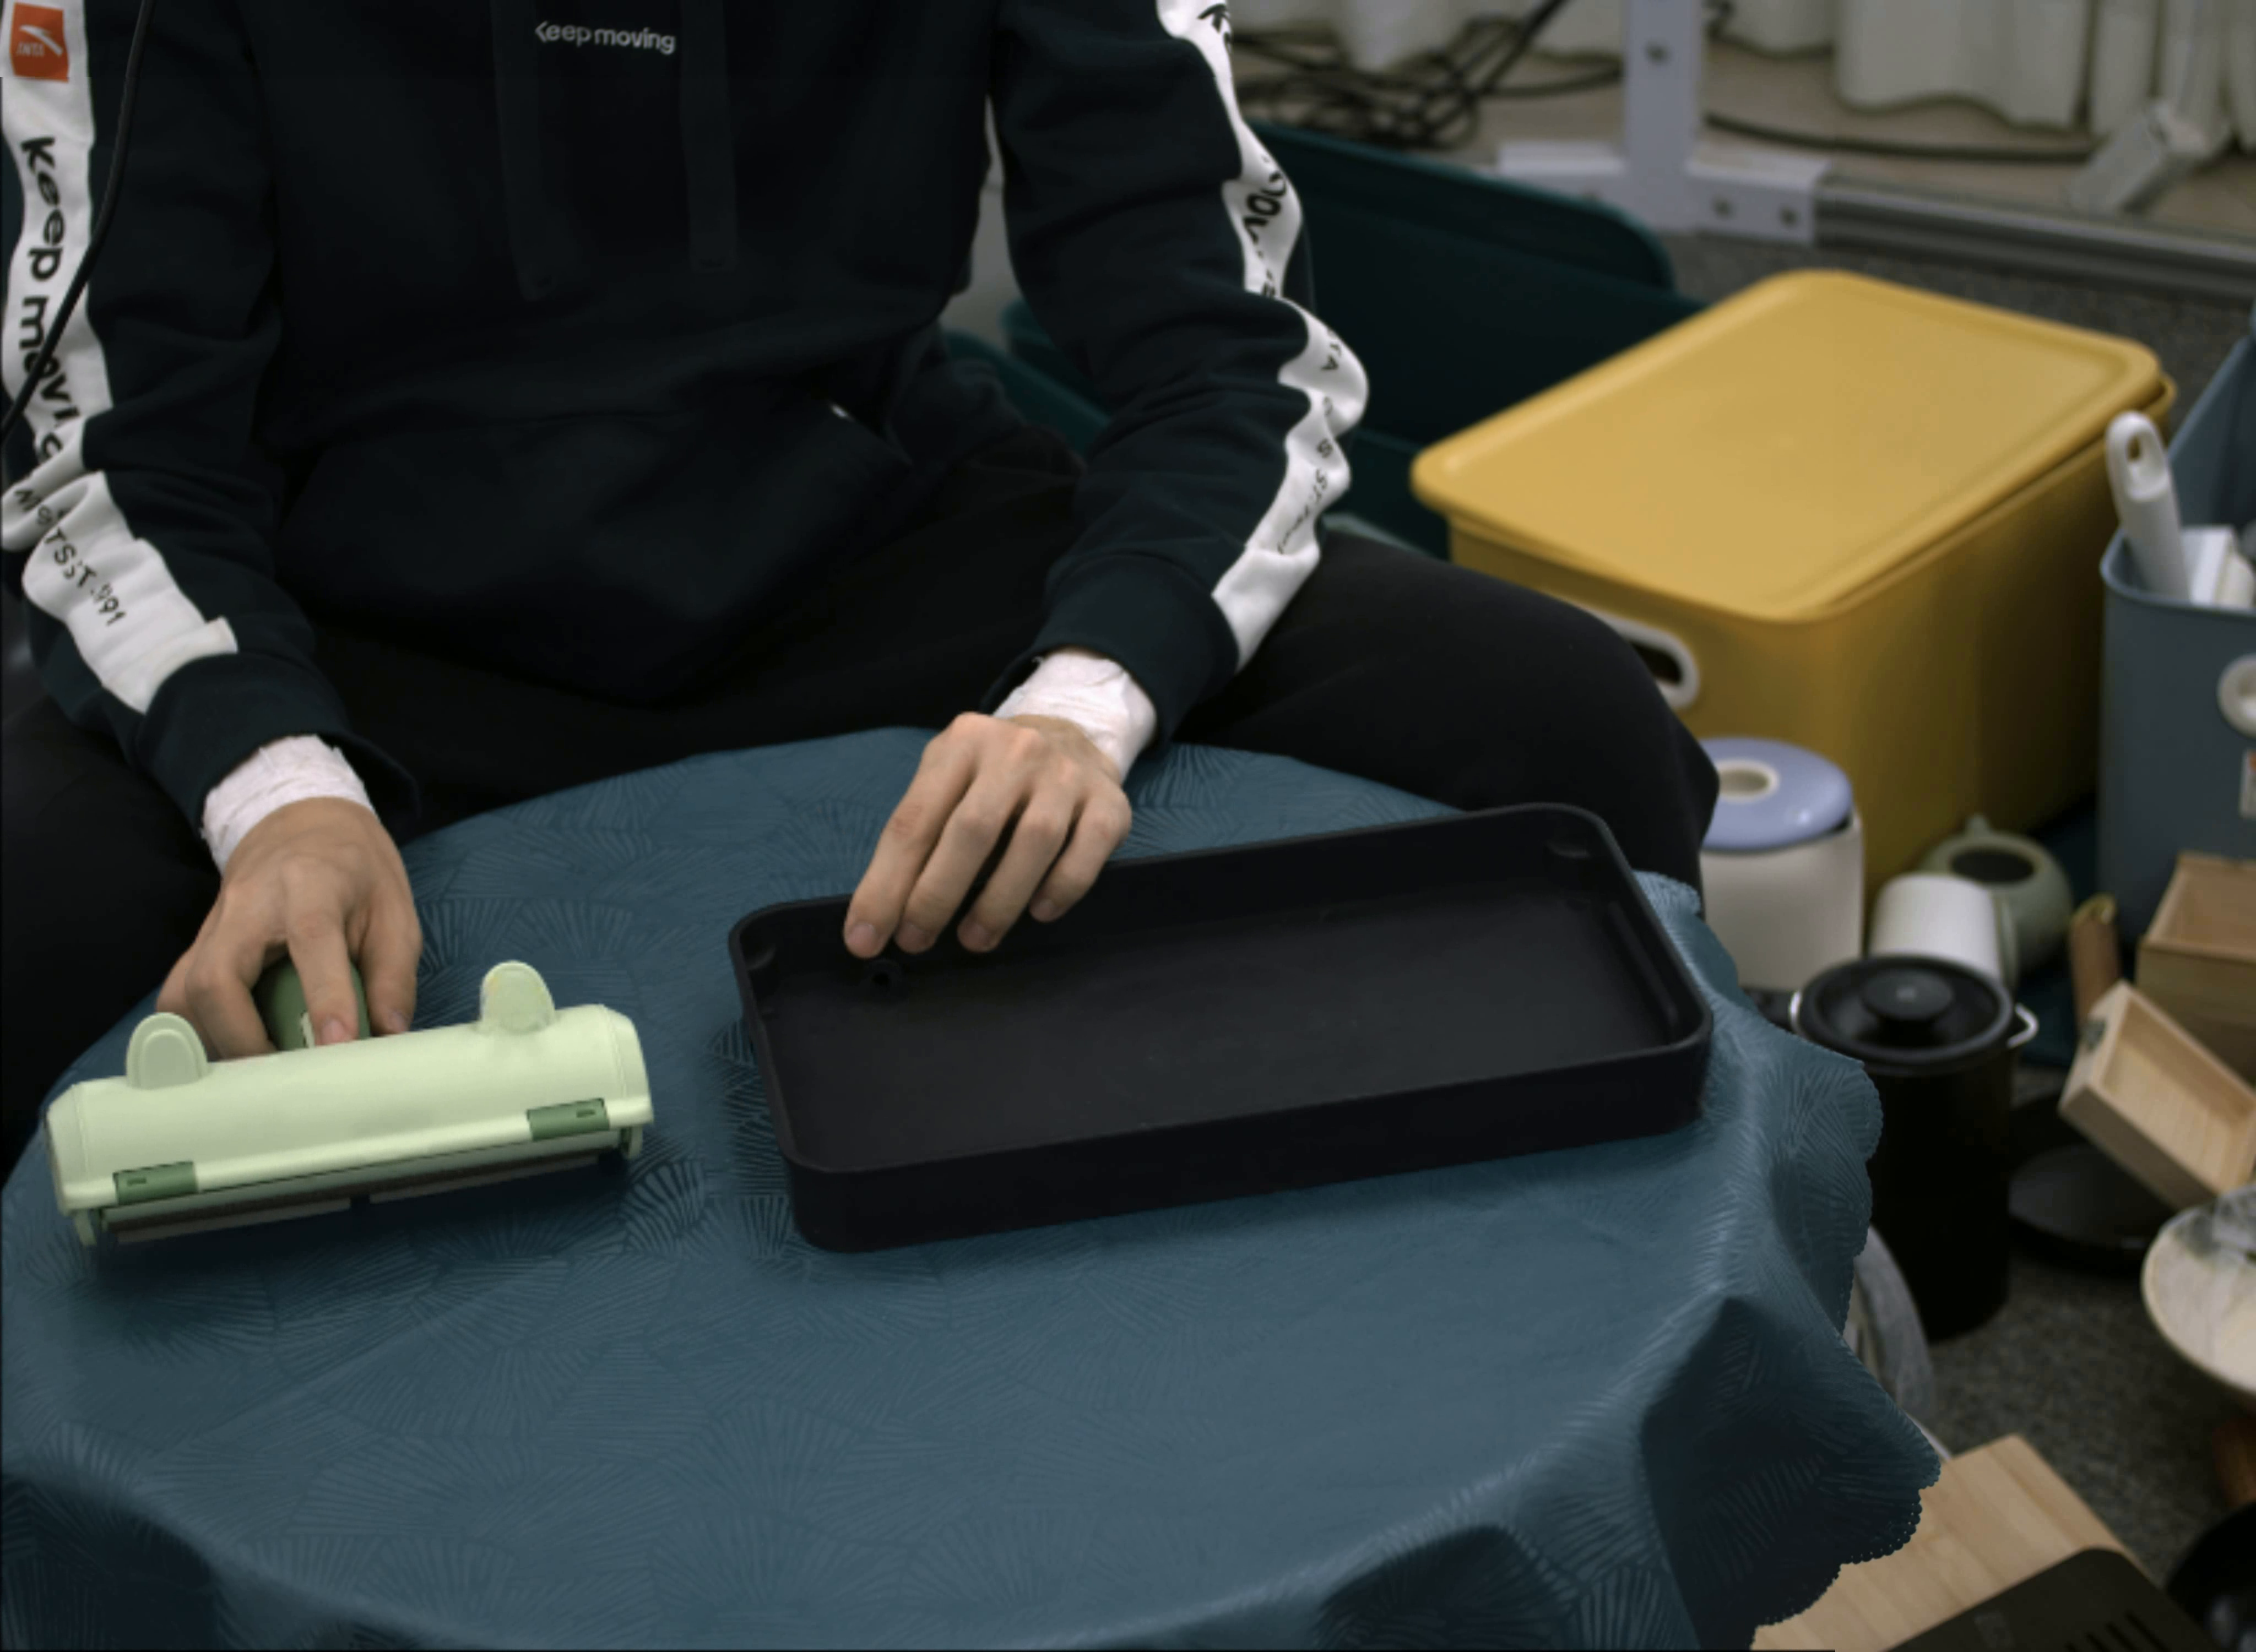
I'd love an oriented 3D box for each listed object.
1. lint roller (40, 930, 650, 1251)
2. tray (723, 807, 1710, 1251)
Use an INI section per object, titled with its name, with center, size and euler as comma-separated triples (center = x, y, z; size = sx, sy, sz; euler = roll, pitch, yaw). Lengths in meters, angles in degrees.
[lint roller]
center = -0.273, 0.065, 1.901
size = 0.198, 0.081, 0.185
euler = -8, 33, -13
[tray]
center = 0.027, 0.066, 1.924
size = 0.317, 0.036, 0.186
euler = -7, 28, -8
